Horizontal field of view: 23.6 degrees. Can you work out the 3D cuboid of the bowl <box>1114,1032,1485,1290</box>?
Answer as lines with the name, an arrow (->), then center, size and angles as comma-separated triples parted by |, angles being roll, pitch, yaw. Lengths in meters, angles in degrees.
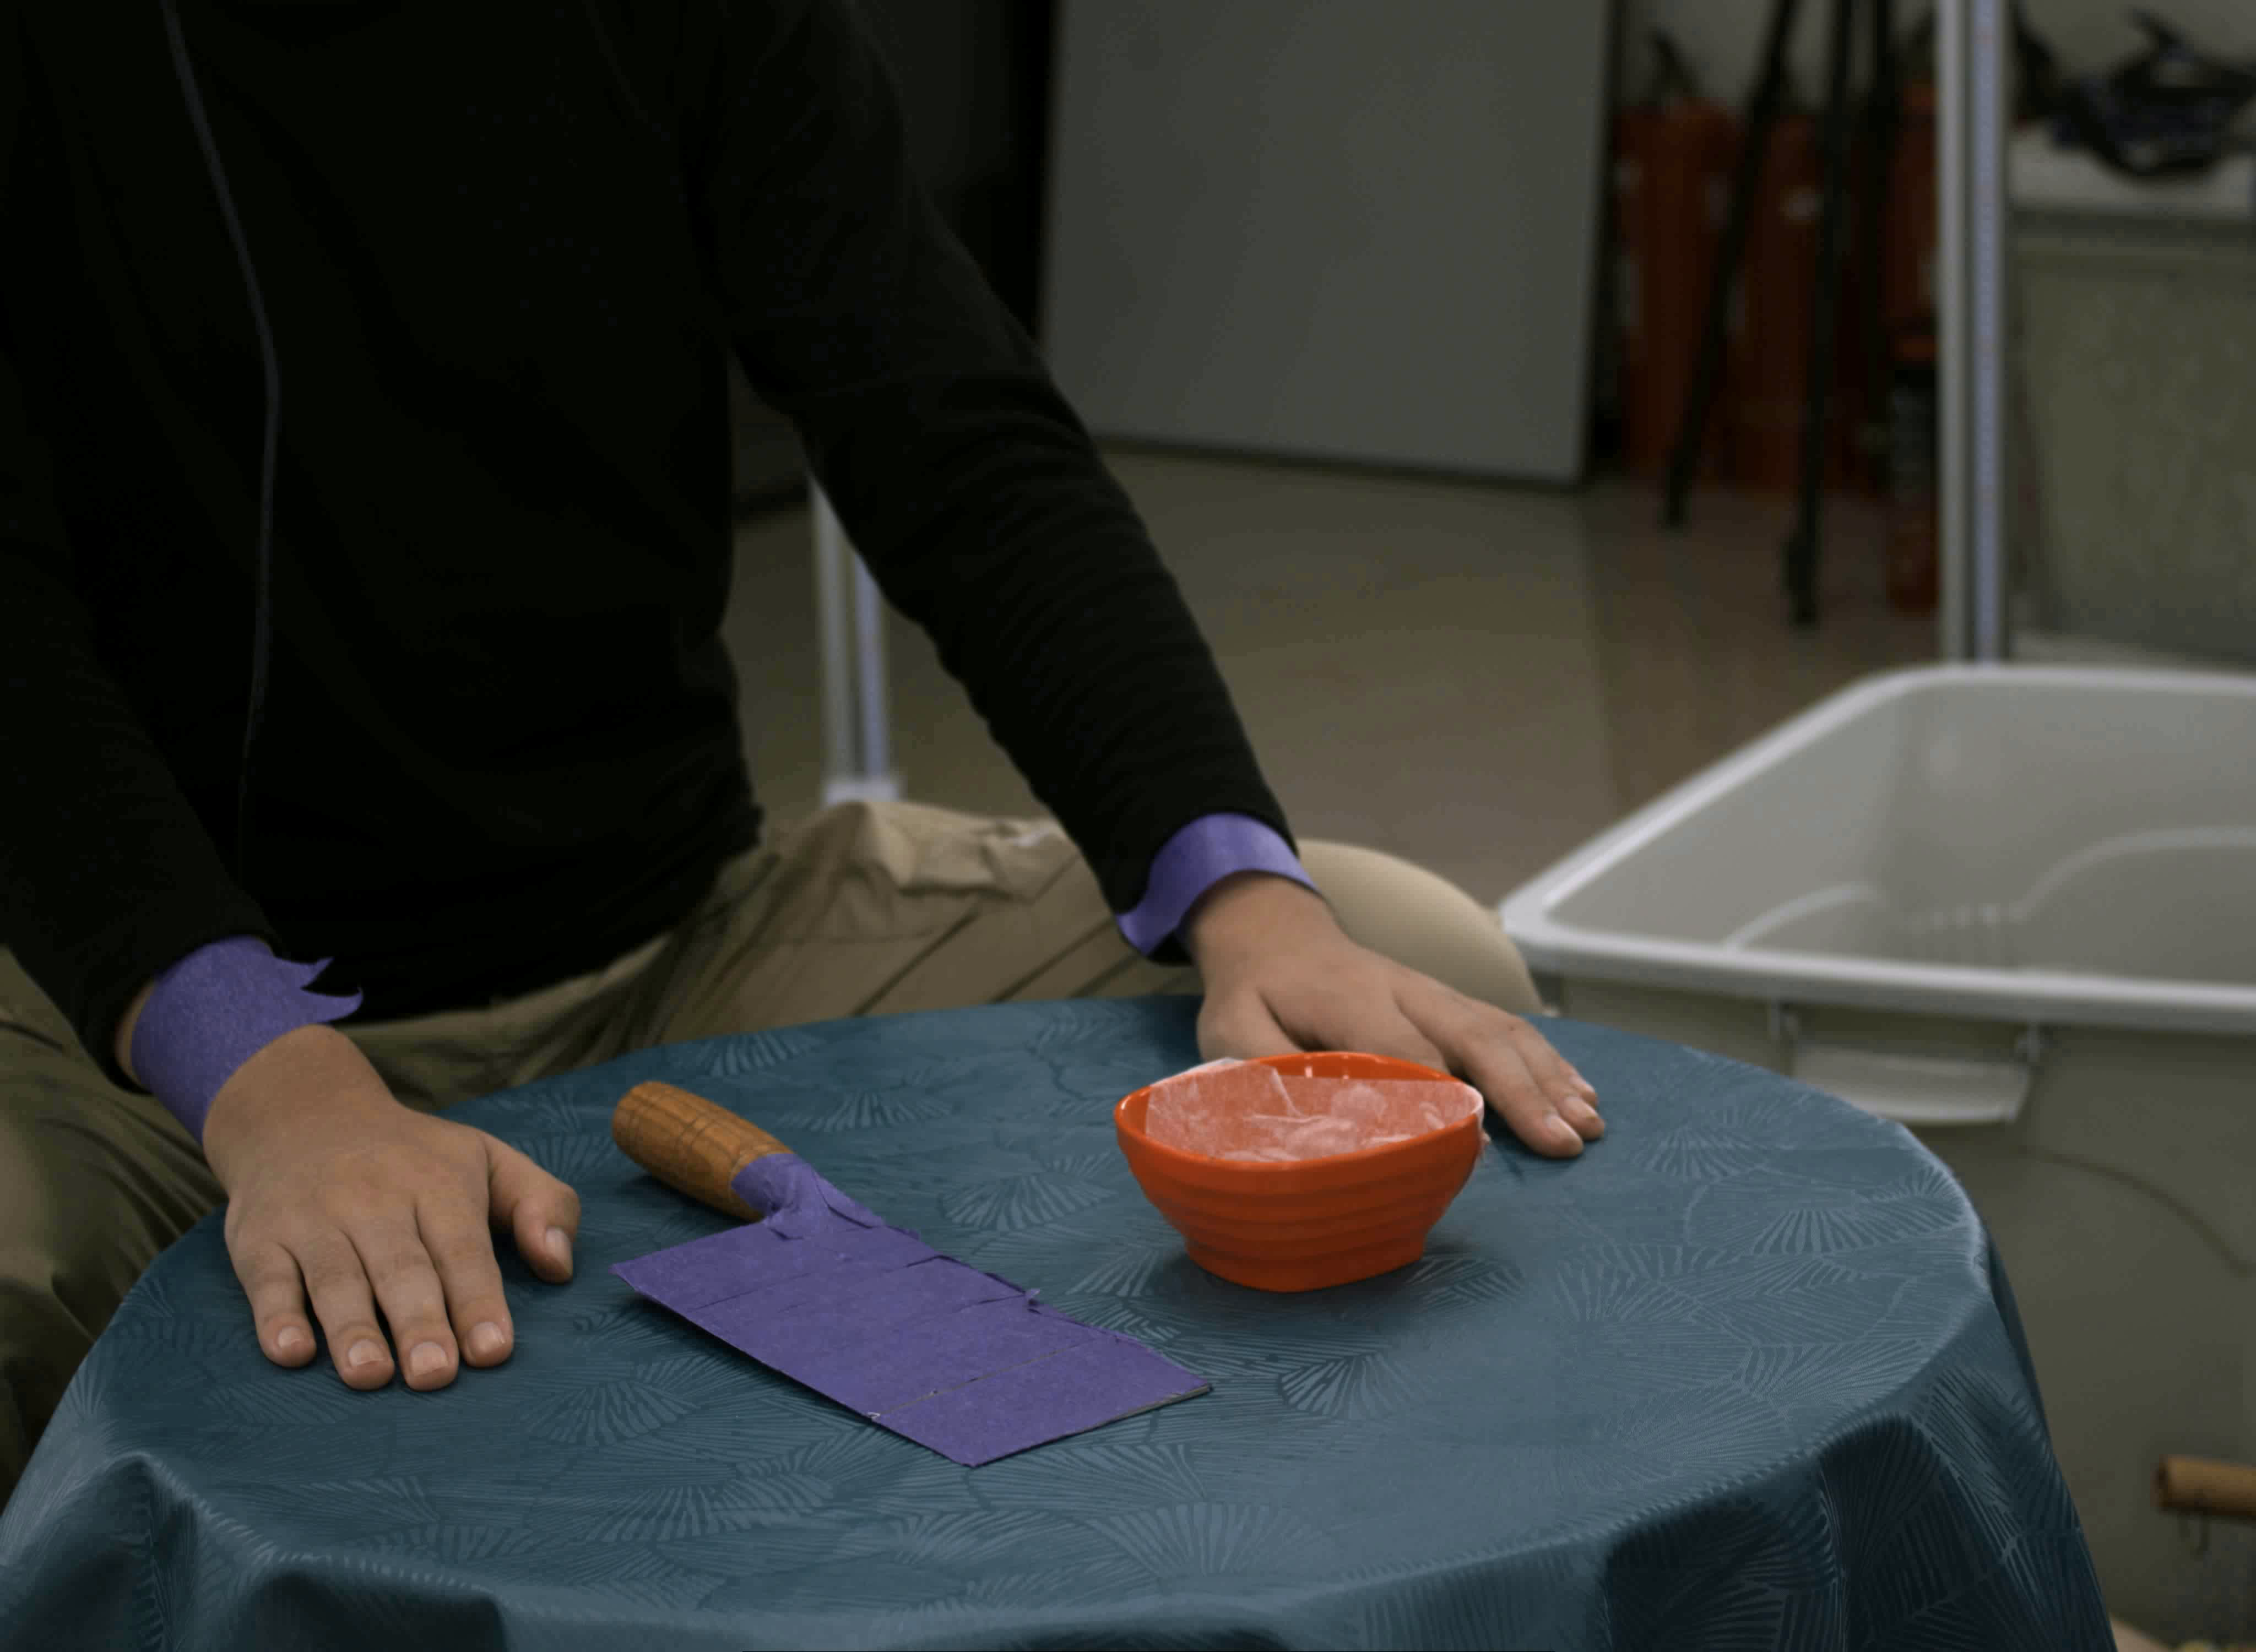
bowl -> 0.055, 0.107, 1.693 | 0.117, 0.052, 0.119 | -4, 17, 0

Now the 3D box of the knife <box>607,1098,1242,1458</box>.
knife -> -0.096, 0.138, 1.682 | 0.101, 0.032, 0.318 | -13, 17, -33
